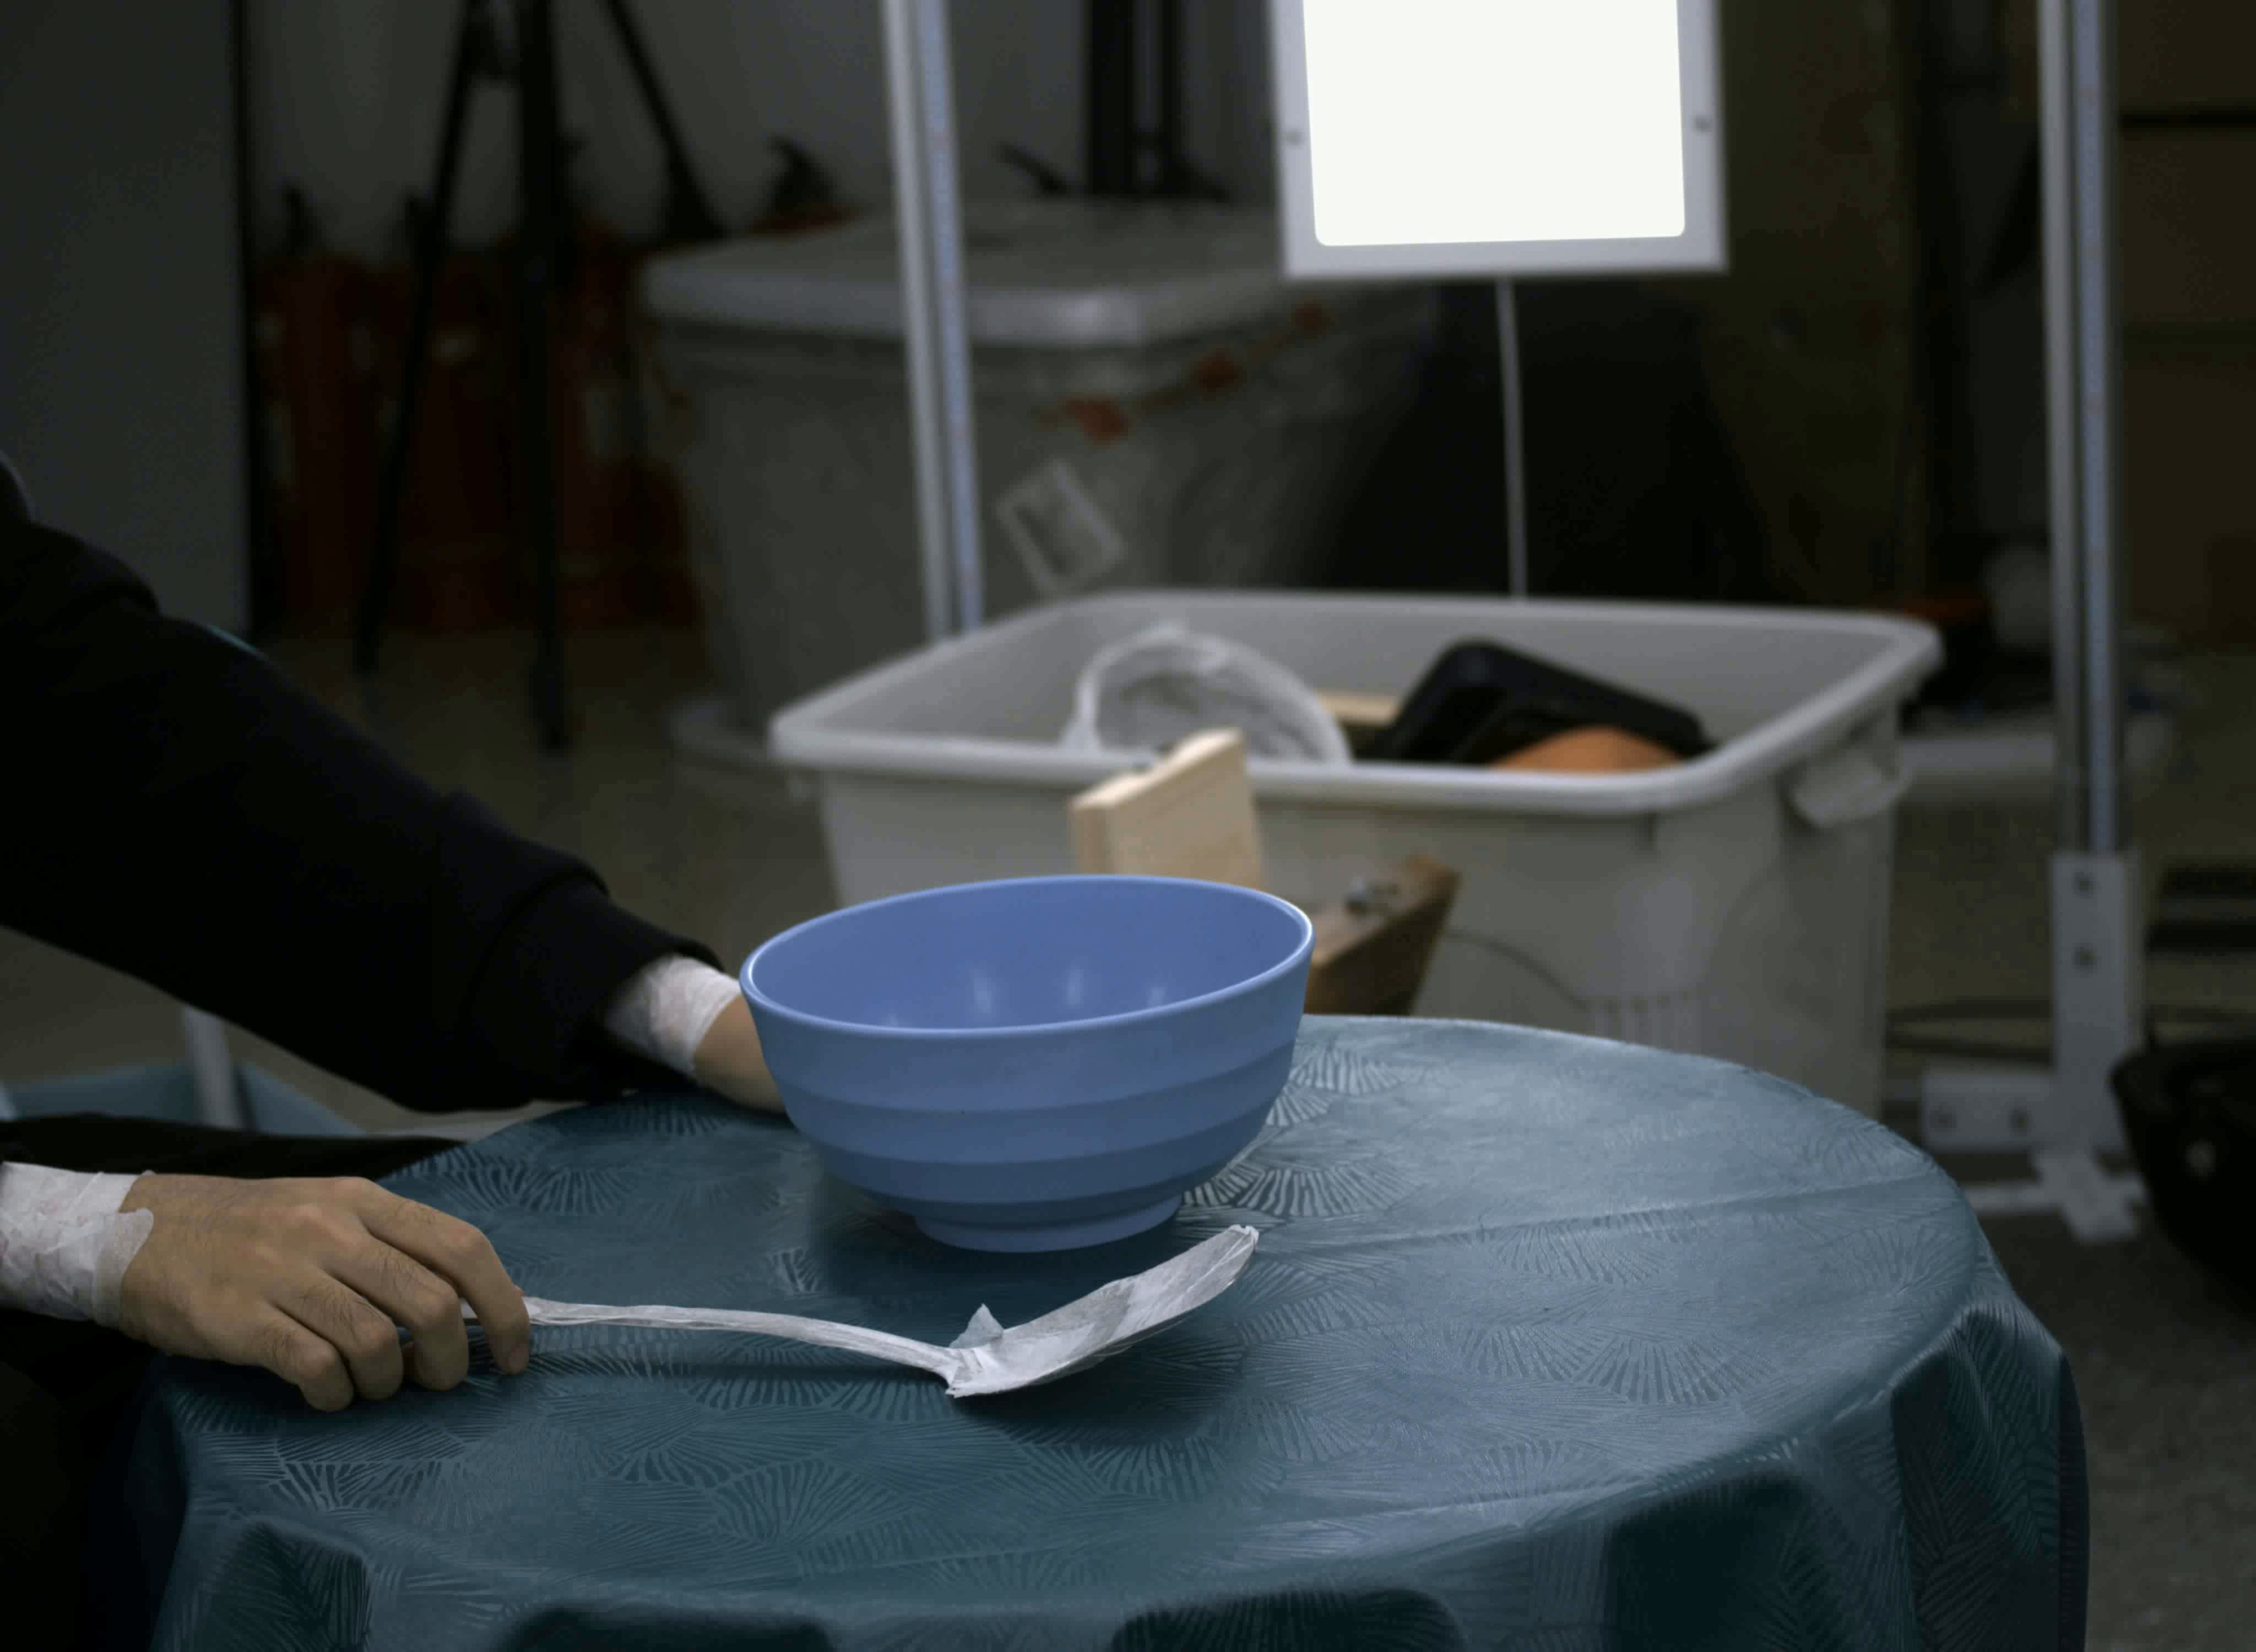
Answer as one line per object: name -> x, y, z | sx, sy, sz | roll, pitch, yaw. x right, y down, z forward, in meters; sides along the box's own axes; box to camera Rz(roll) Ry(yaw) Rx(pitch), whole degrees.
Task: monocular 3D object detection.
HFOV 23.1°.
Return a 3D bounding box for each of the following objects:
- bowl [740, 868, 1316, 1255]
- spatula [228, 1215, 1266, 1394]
bowl -> -0.031, 0.086, 1.875 | 0.196, 0.096, 0.196 | -5, 15, 0
spatula -> -0.133, 0.152, 1.759 | 0.370, 0.045, 0.097 | 1, 17, 21
